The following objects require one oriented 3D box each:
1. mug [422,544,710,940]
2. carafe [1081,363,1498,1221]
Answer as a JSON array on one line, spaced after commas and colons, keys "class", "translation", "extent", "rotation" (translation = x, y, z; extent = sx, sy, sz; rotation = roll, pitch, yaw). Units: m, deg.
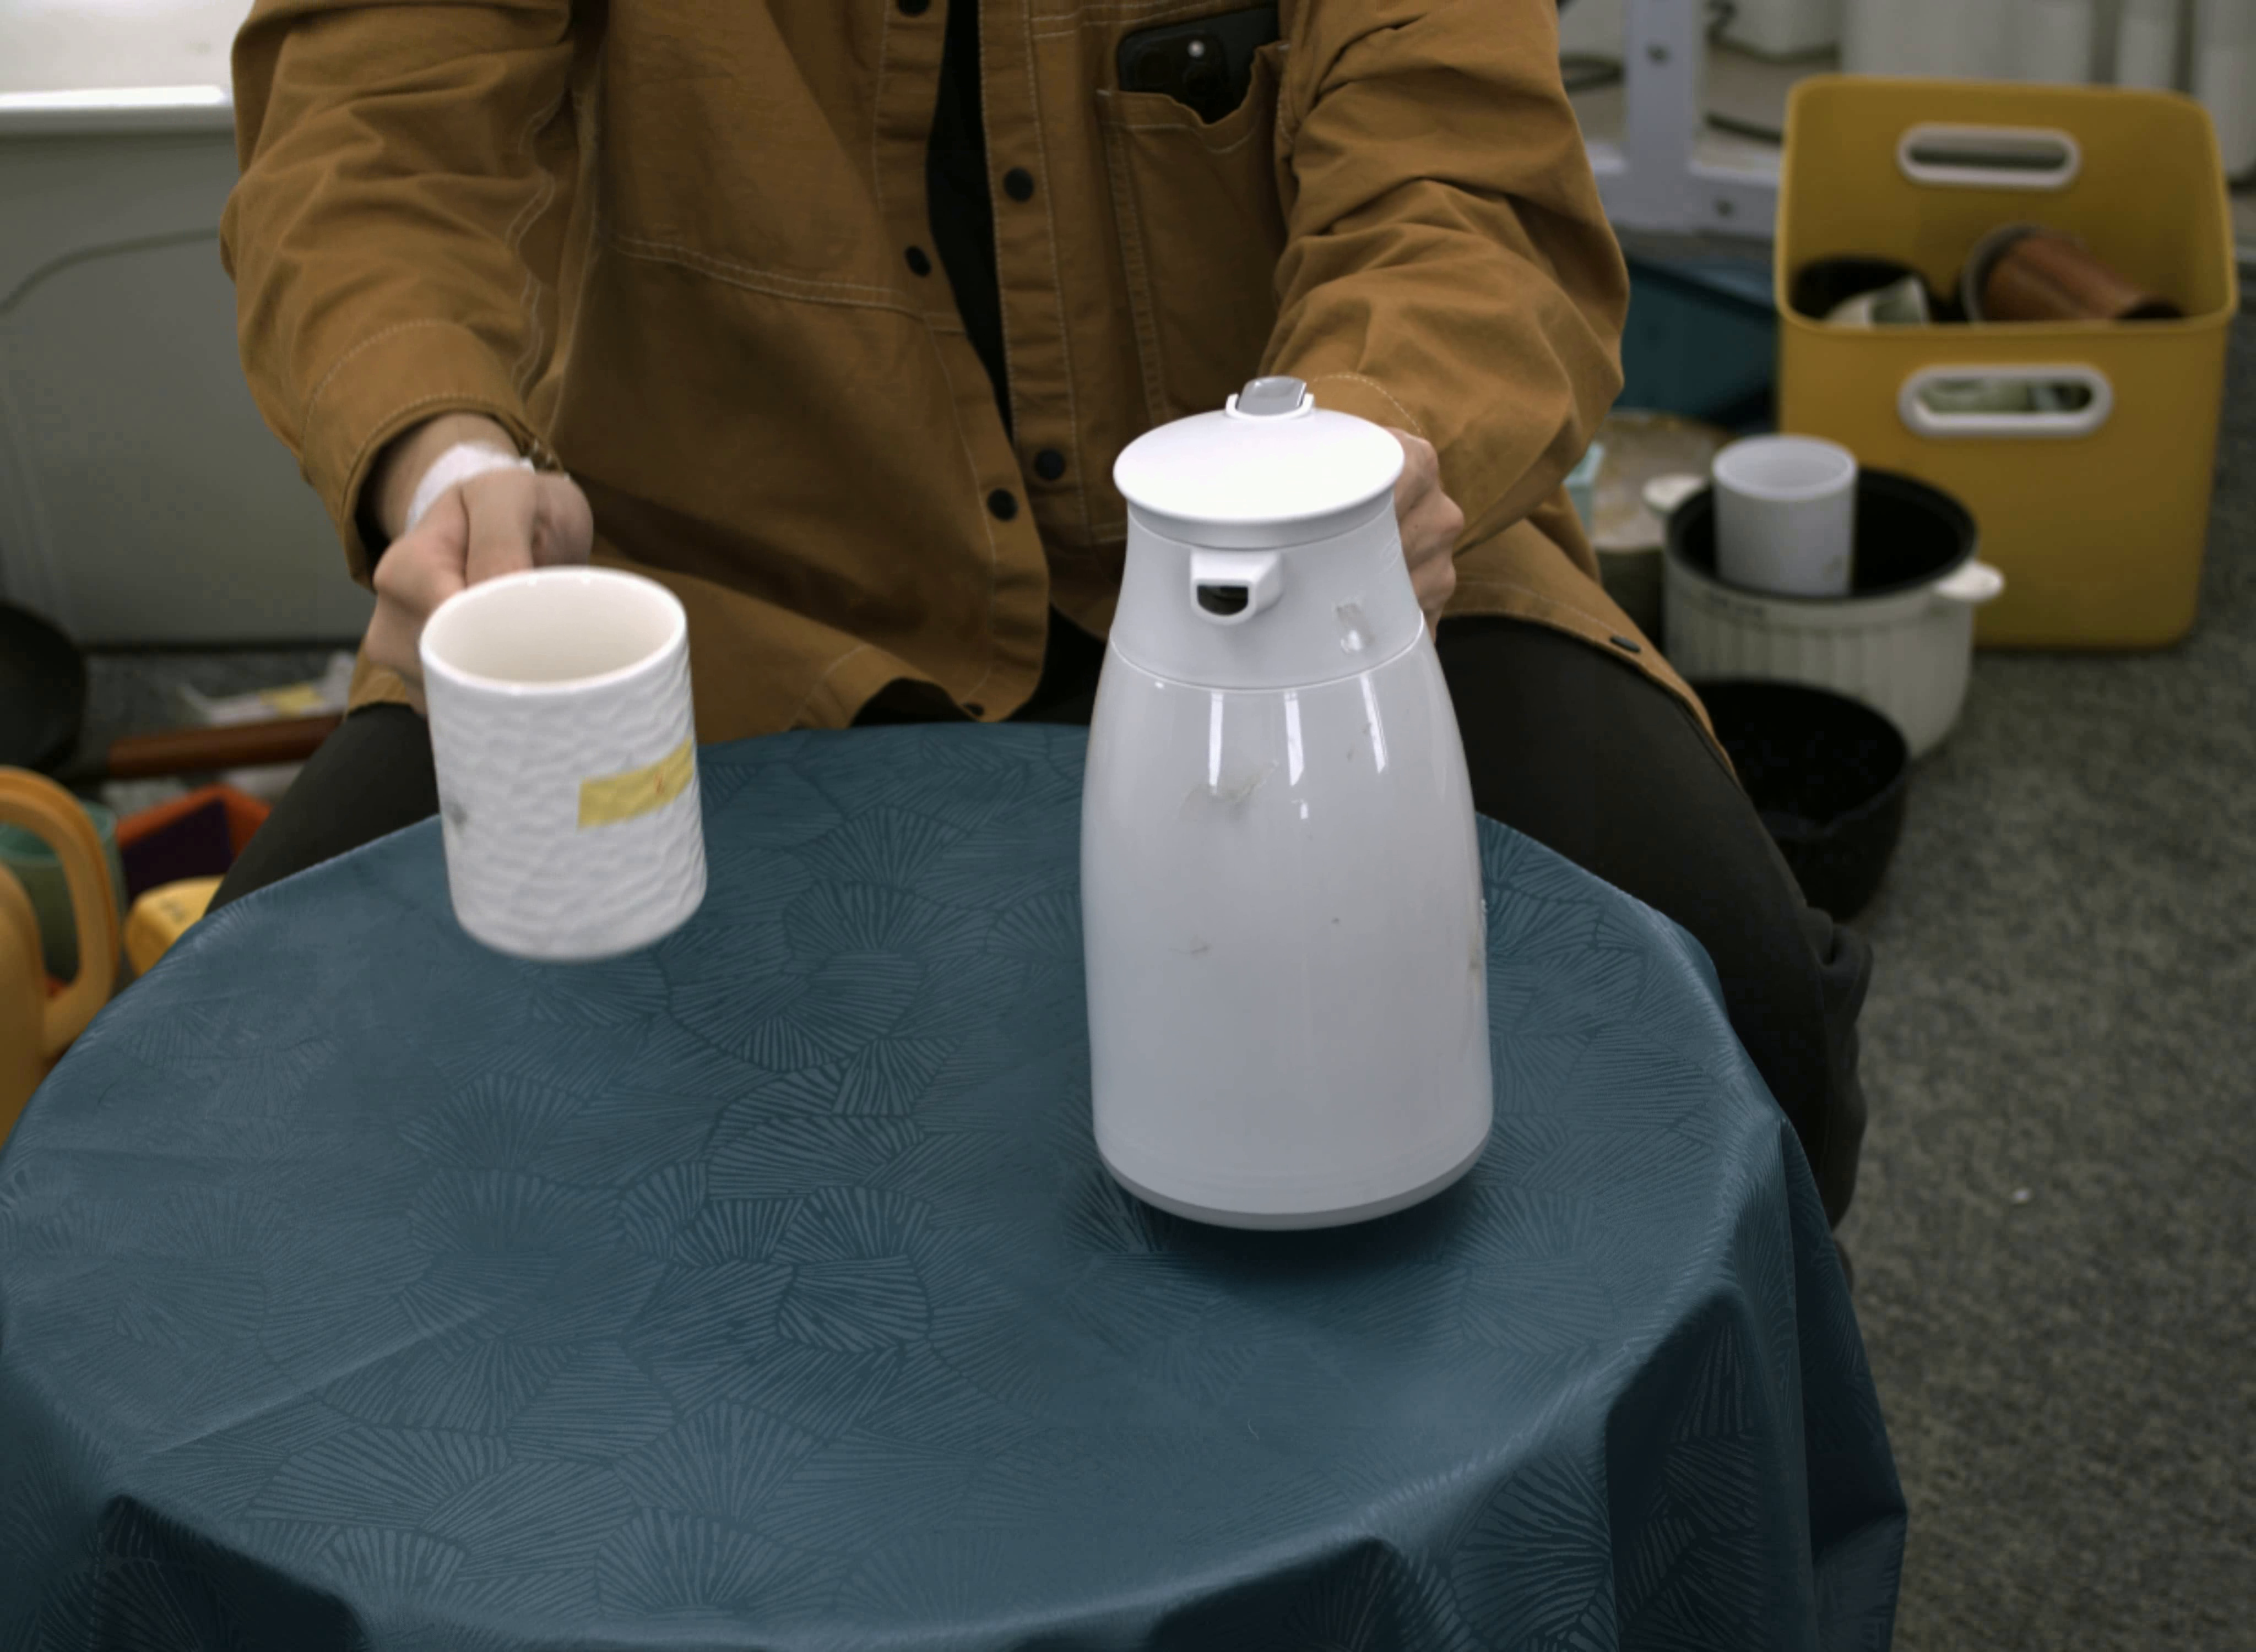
[{"class": "mug", "translation": [-0.185, -0.032, 1.815], "extent": [0.085, 0.101, 0.119], "rotation": [-14, 29, -21]}, {"class": "carafe", "translation": [0.050, -0.021, 1.819], "extent": [0.131, 0.246, 0.170], "rotation": [1, 25, 12]}]
